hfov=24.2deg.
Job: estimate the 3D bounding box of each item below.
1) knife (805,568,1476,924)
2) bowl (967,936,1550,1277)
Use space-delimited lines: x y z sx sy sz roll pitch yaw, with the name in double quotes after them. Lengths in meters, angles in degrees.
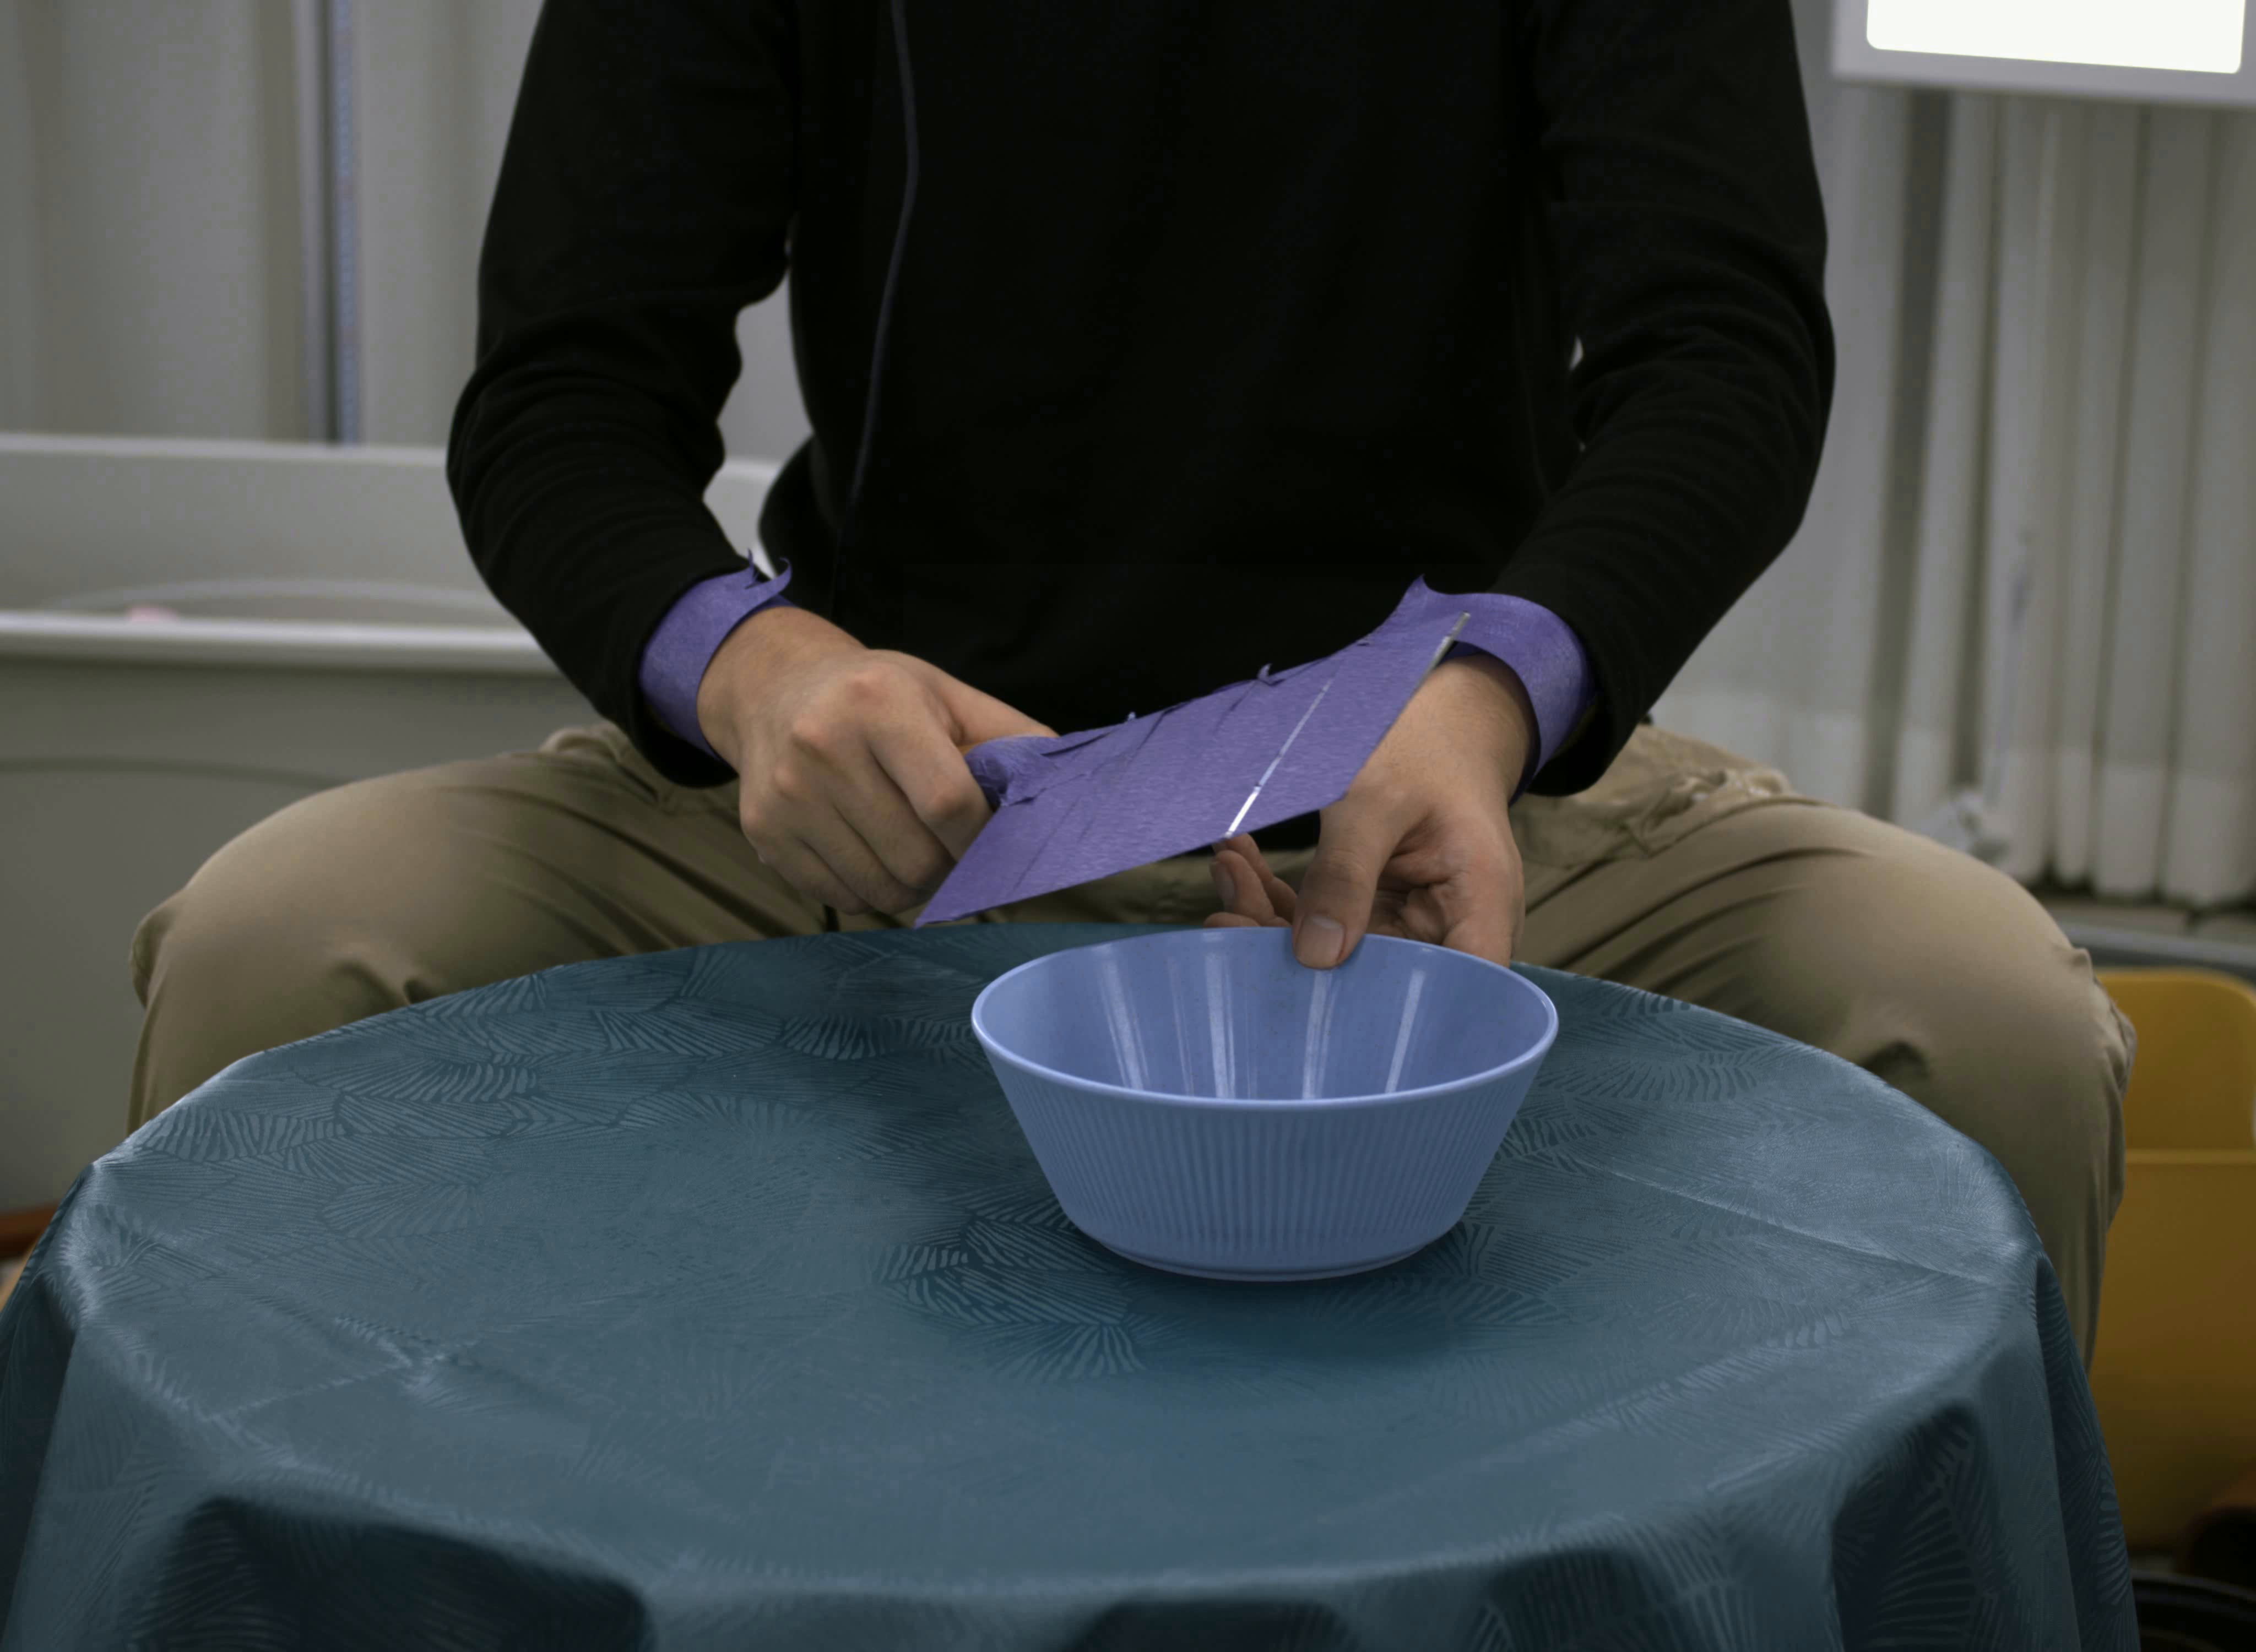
-0.017 -0.012 1.669 0.313 0.032 0.103 -21 25 48 "knife"
0.038 0.086 1.585 0.175 0.071 0.175 2 15 0 "bowl"
